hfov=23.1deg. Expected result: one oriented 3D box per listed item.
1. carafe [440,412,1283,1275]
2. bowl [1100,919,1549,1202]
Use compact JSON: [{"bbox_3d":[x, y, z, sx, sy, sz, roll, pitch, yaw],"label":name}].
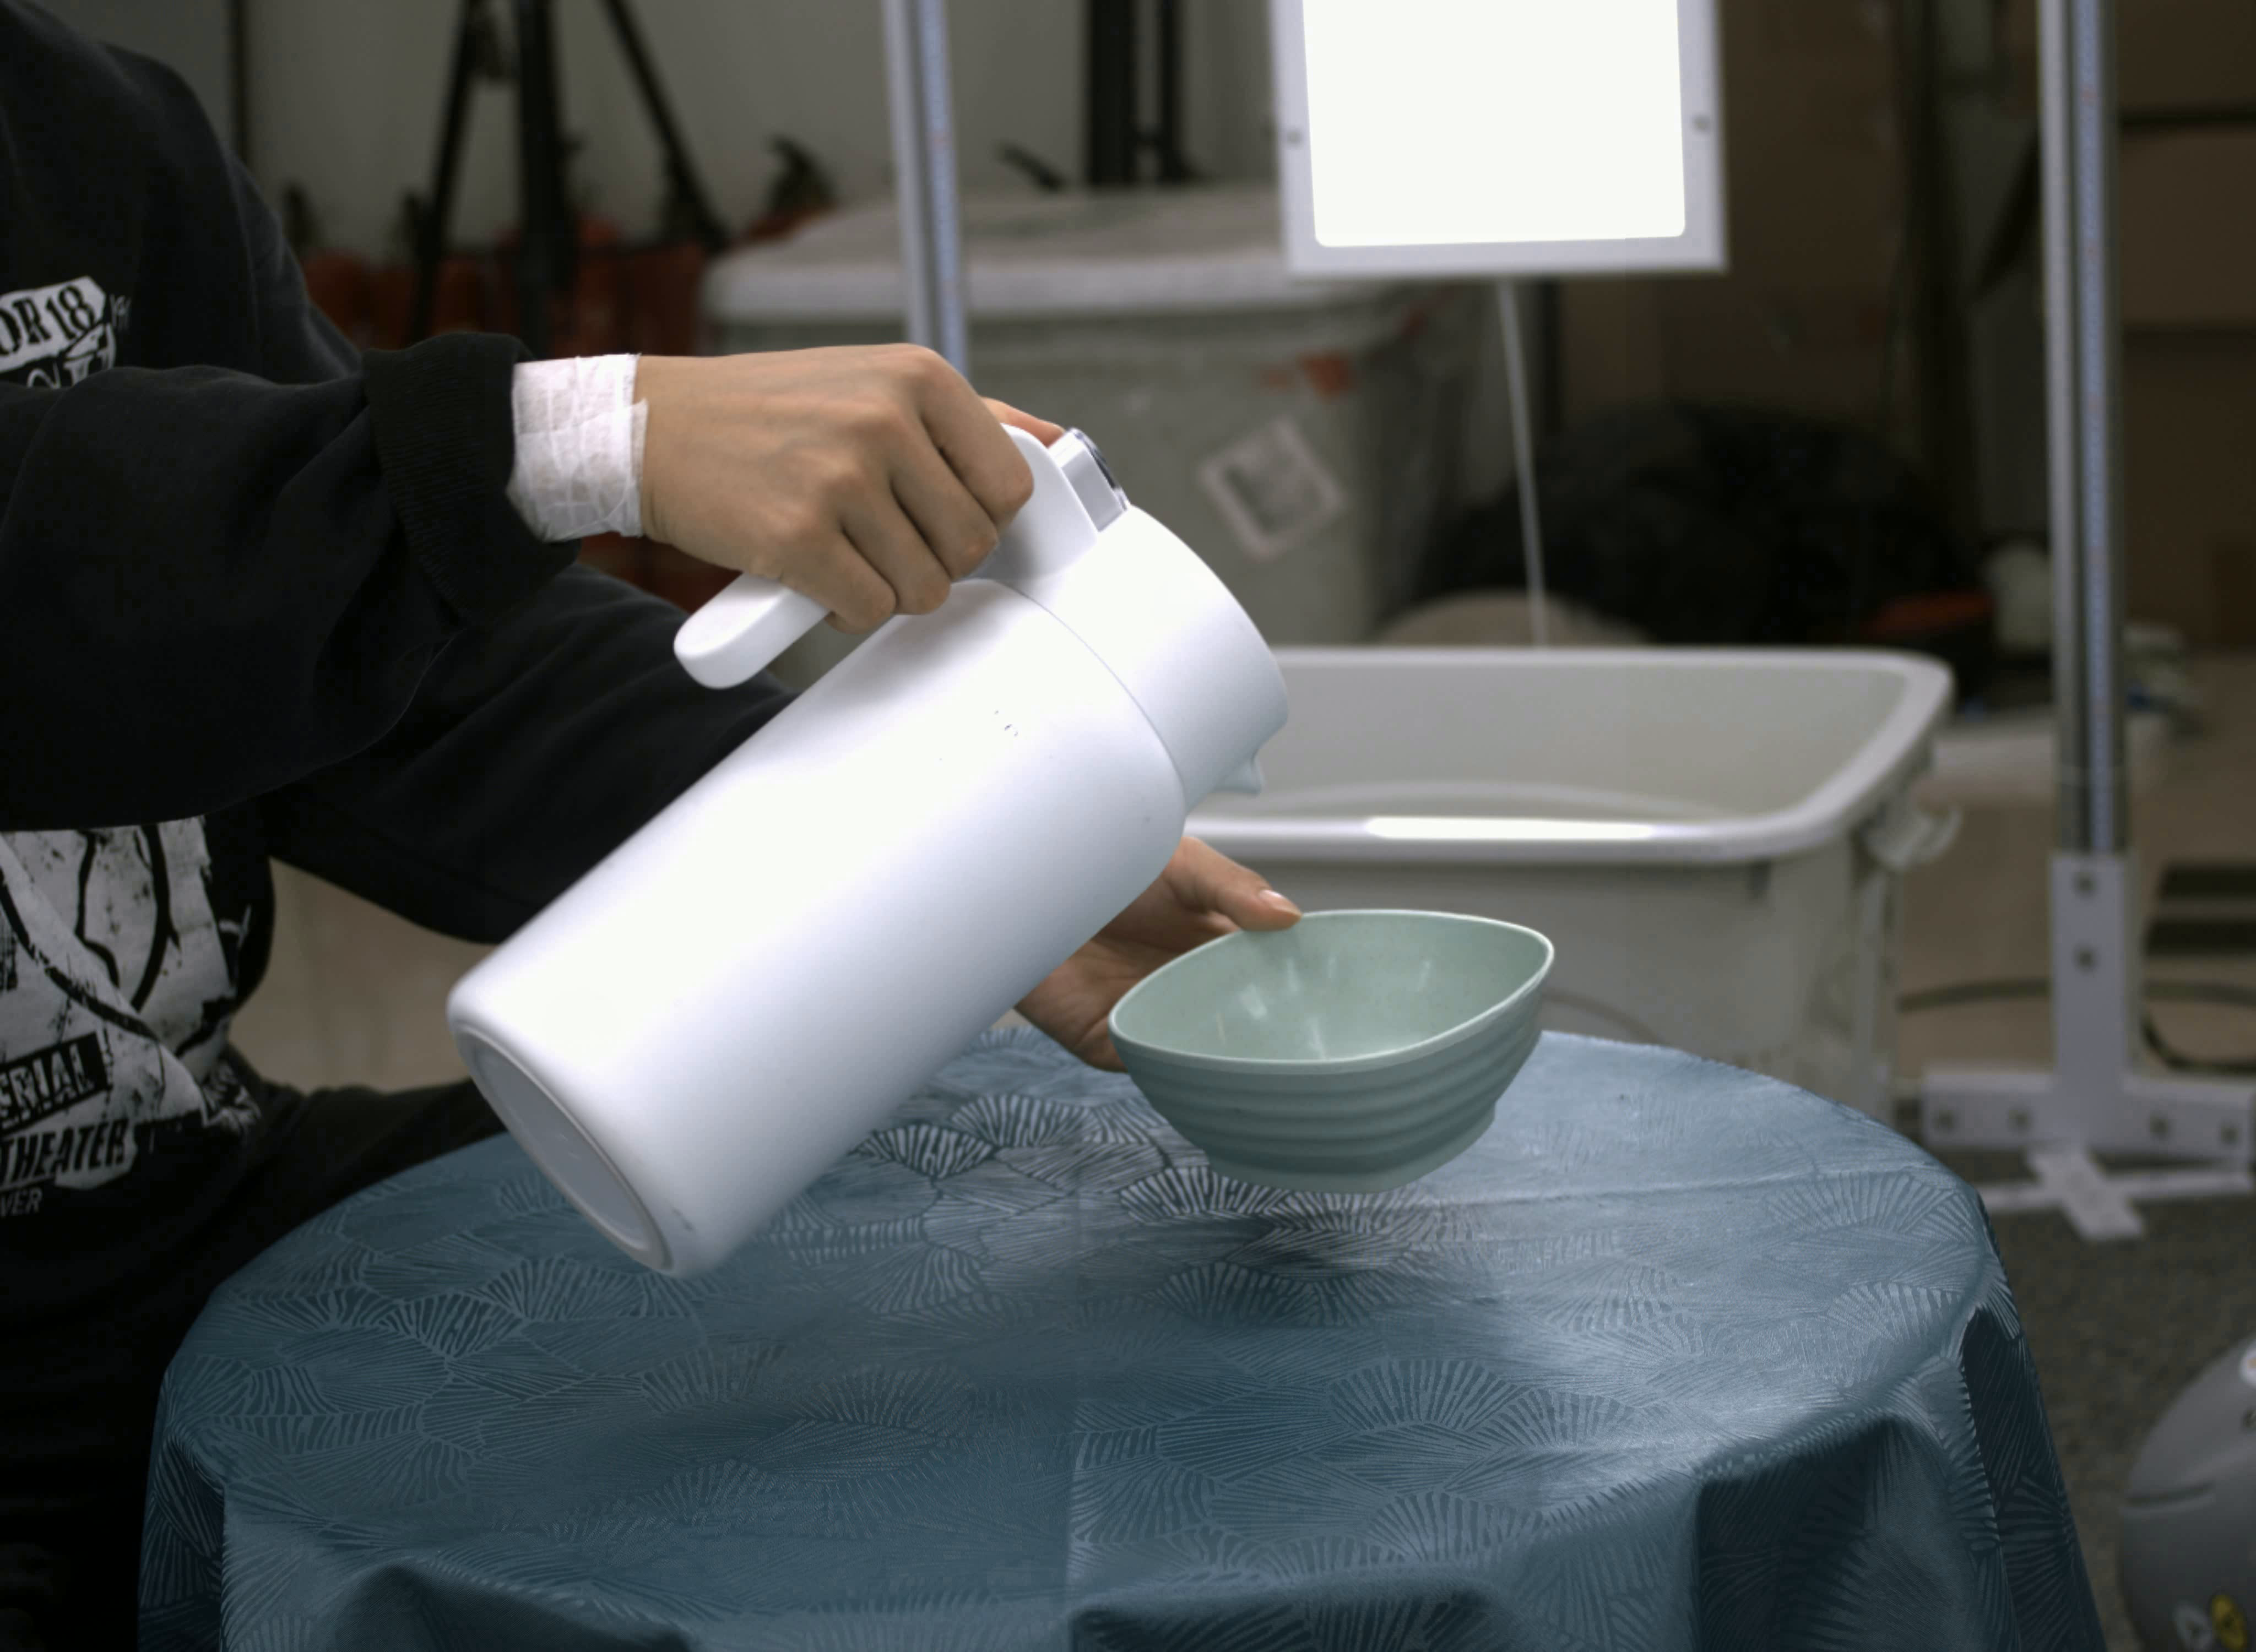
[{"bbox_3d":[-0.086,0.001,1.702,0.266,0.172,0.126,-39,31,-14],"label":"carafe"},{"bbox_3d":[0.069,0.081,1.821,0.151,0.059,0.151,-9,17,1],"label":"bowl"}]
